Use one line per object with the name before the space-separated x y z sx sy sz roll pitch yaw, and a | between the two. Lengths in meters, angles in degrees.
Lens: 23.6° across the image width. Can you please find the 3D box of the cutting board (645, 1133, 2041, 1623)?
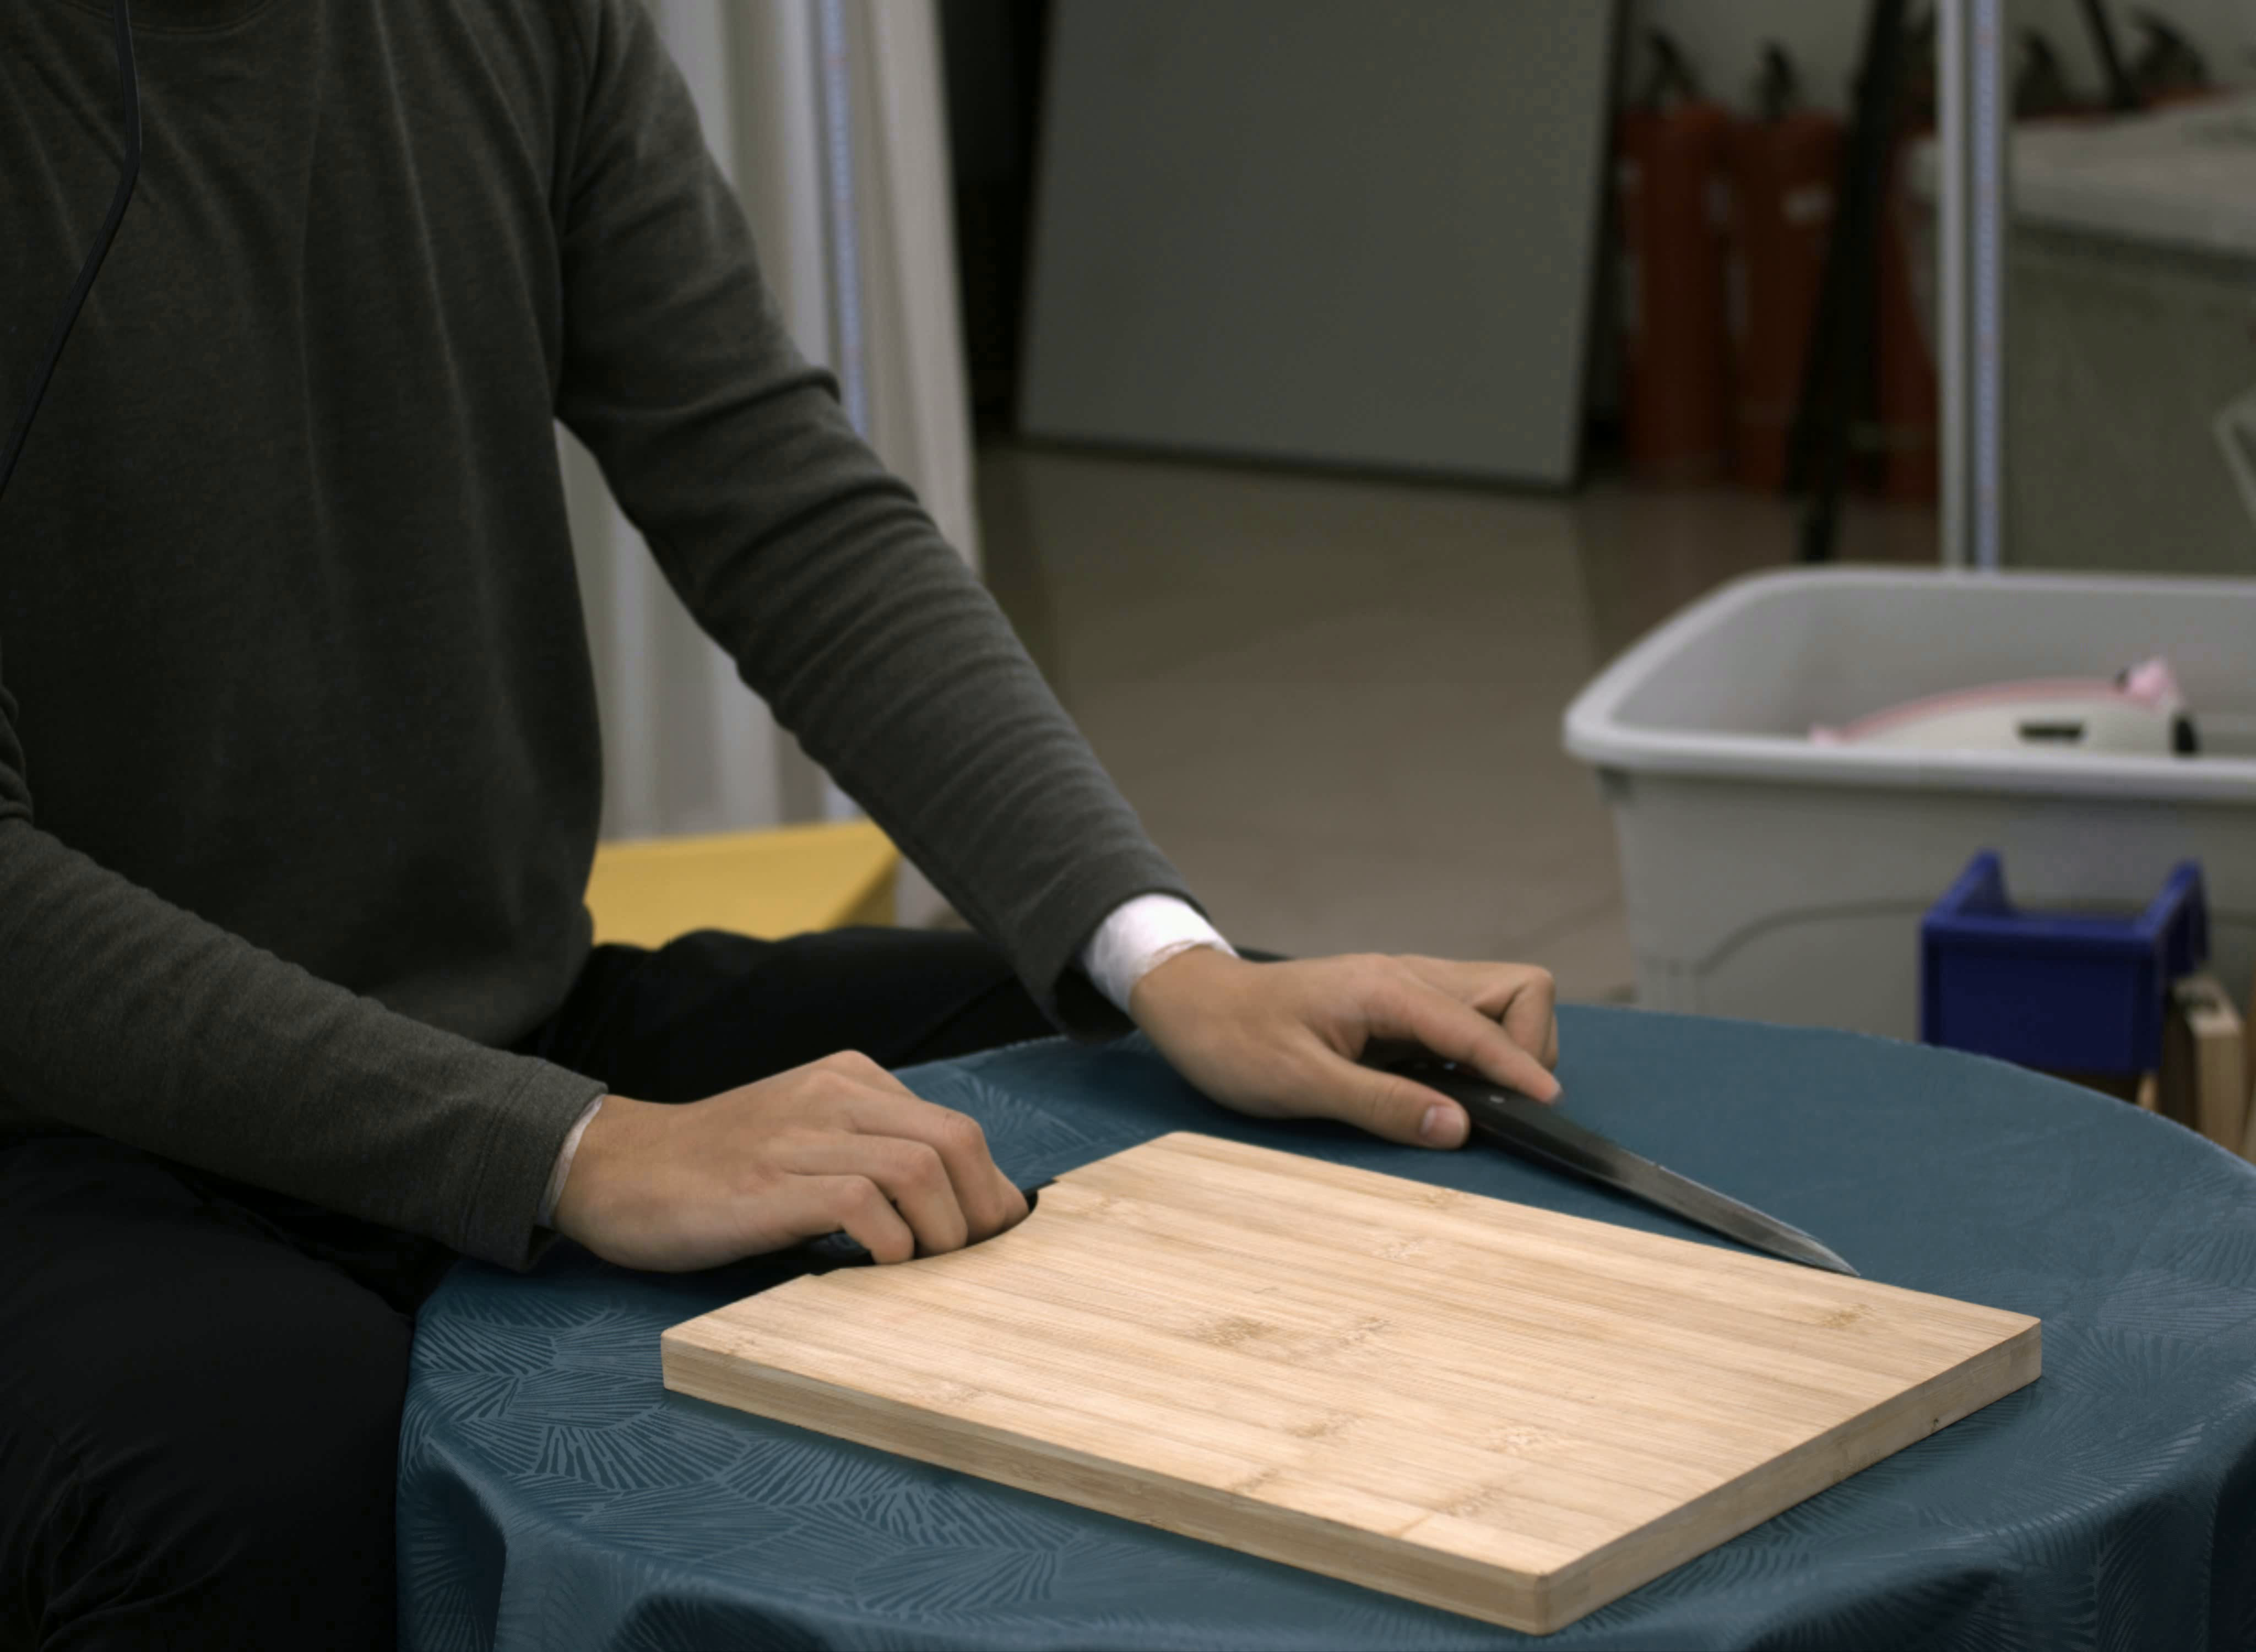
cutting board | 0.059 0.155 1.585 0.351 0.024 0.246 8 18 42

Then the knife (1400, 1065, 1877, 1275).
knife | 0.160 0.113 1.740 0.024 0.016 0.241 -12 18 -31
